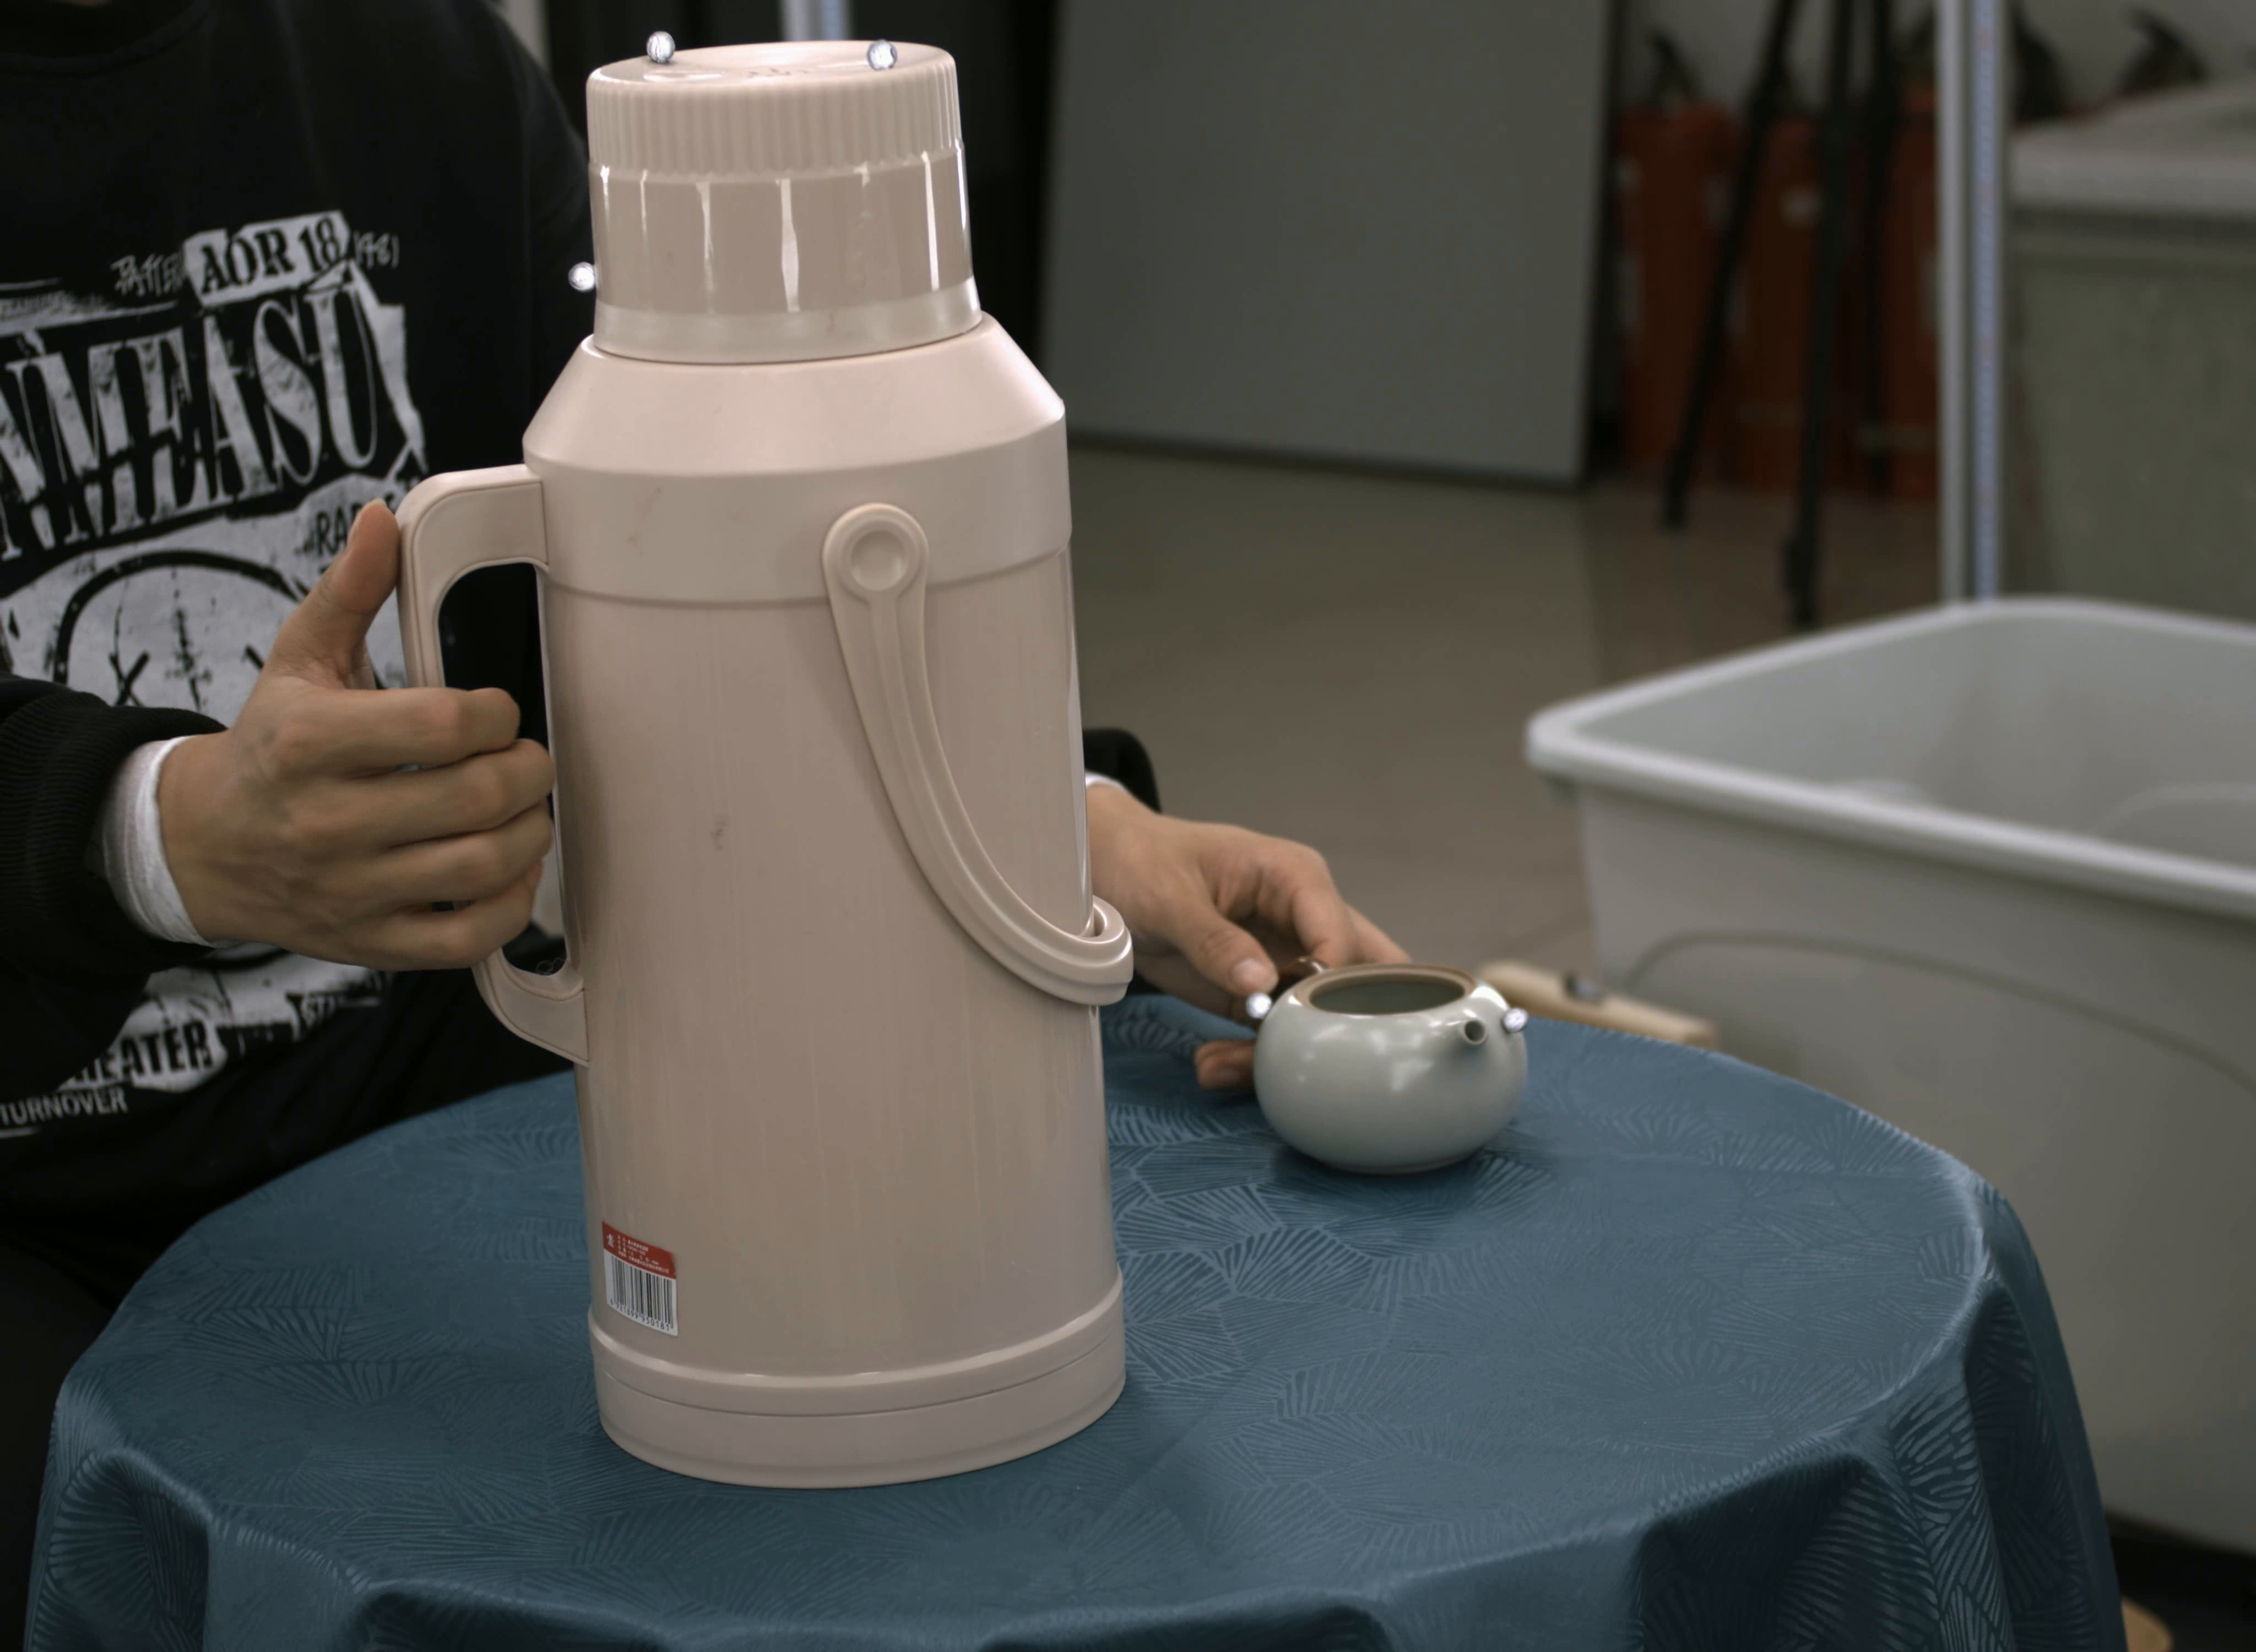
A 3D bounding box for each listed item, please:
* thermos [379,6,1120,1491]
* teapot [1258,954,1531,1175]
[{"bbox_3d":[-0.107,-0.023,1.556,0.203,0.411,0.177,-7,15,-16],"label":"thermos"},{"bbox_3d":[0.083,0.078,1.799,0.090,0.060,0.129,-16,18,-29],"label":"teapot"}]
